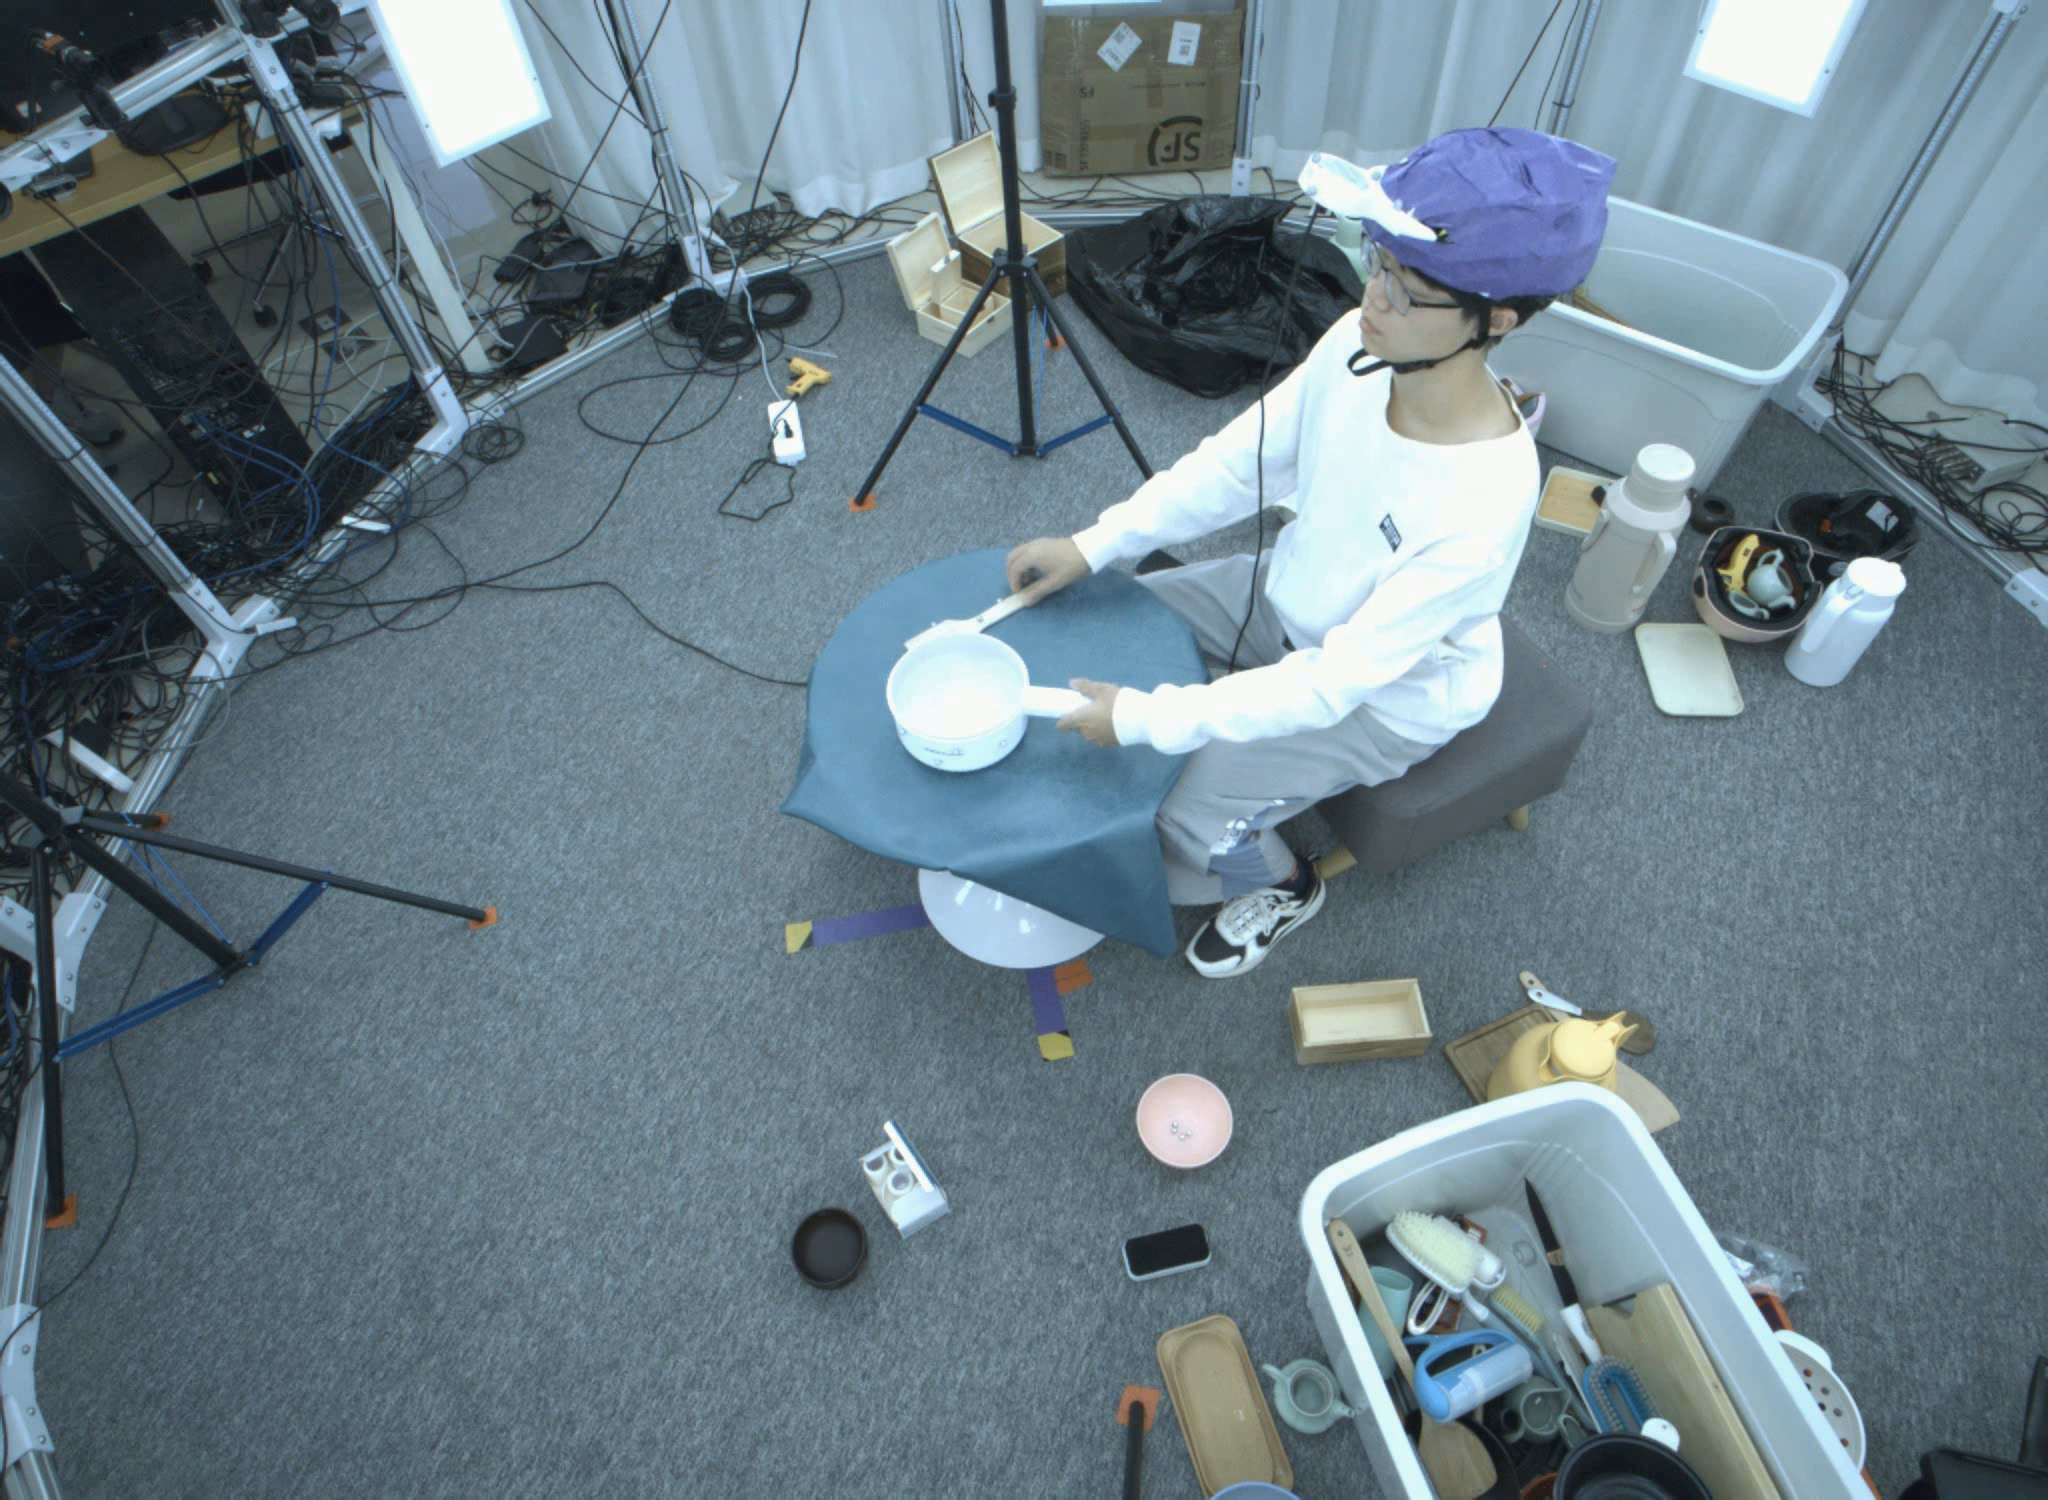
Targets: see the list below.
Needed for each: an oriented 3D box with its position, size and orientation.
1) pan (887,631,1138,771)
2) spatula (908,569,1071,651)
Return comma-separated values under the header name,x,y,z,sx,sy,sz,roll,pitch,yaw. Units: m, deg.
name,x,y,z,sx,sy,sz,roll,pitch,yaw
pan,-0.016,-0.057,1.763,0.353,0.103,0.200,7,55,6
spatula,-0.047,-0.213,1.932,0.295,0.011,0.071,-32,64,-21
